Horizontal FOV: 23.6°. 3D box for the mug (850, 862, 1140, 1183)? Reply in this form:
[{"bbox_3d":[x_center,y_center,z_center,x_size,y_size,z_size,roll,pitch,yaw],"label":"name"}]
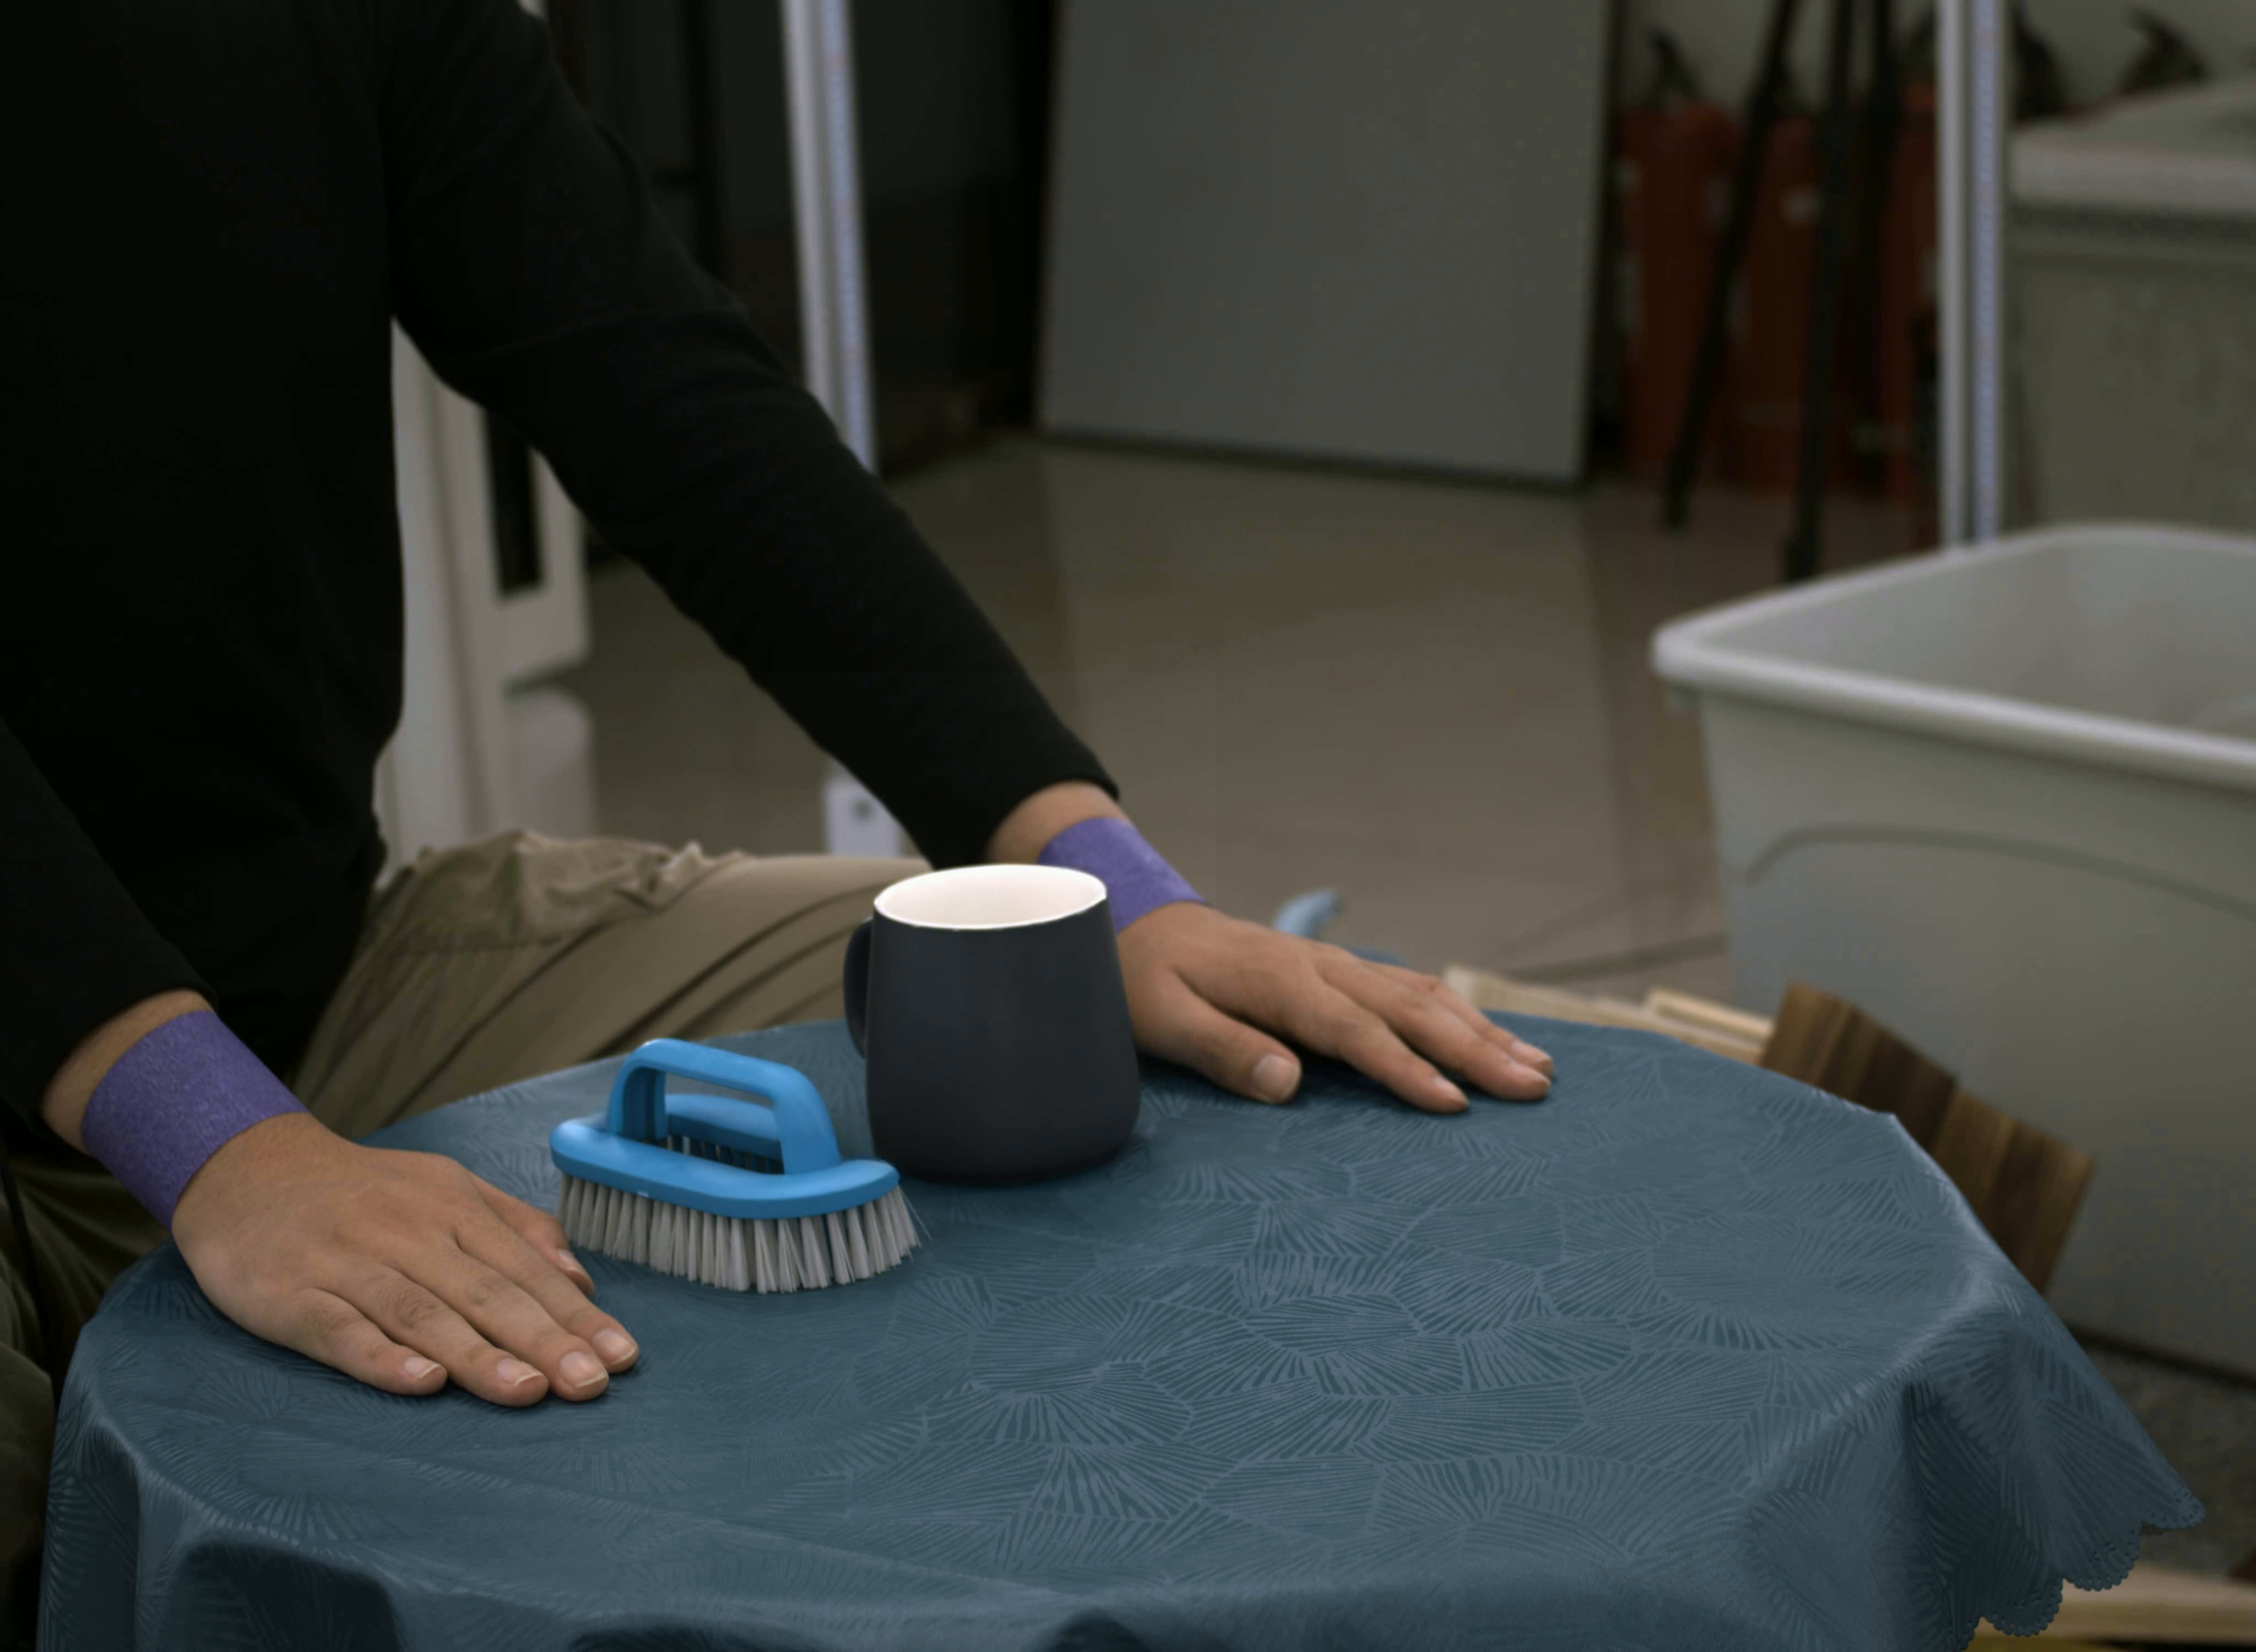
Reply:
[{"bbox_3d":[-0.052,0.063,1.822,0.091,0.091,0.124,-13,18,-37],"label":"mug"}]

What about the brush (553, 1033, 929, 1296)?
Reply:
[{"bbox_3d":[-0.129,0.102,1.744,0.083,0.064,0.143,-22,21,-40],"label":"brush"}]
